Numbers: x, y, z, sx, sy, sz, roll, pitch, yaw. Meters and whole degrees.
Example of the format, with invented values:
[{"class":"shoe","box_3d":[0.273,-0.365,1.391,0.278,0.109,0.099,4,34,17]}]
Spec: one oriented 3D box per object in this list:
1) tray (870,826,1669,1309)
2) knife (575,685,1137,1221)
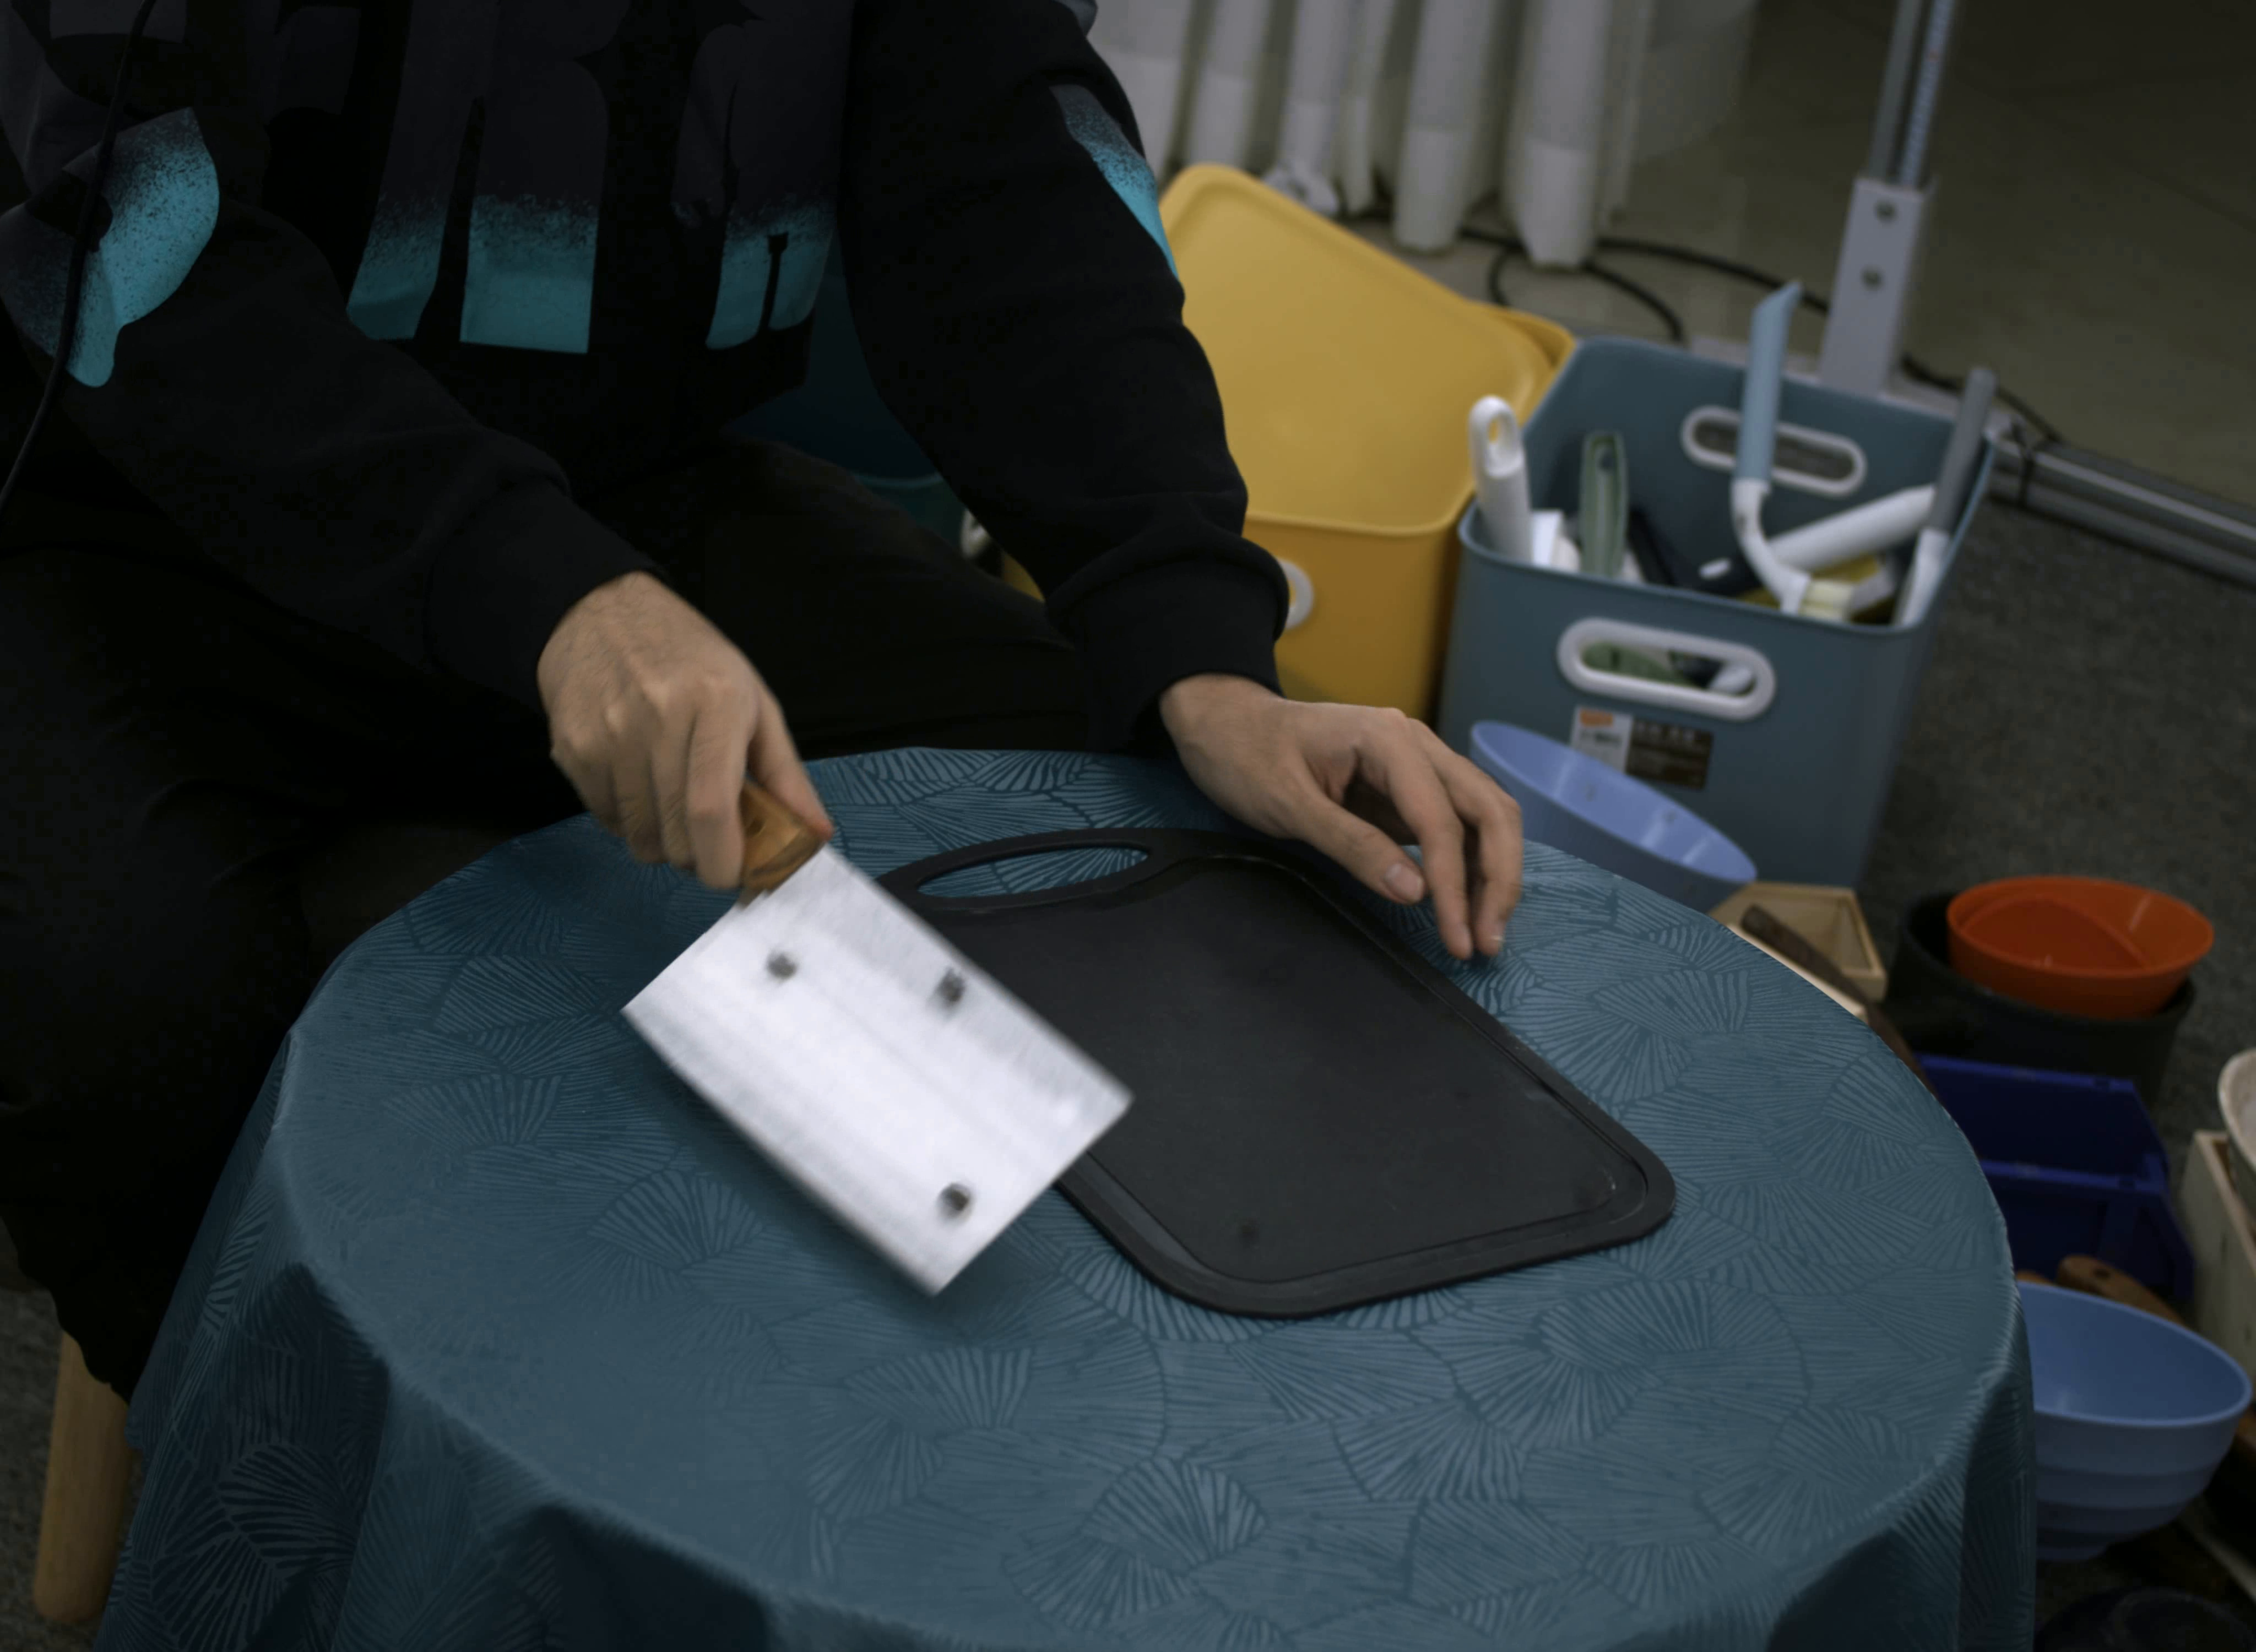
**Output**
[{"class":"tray","box_3d":[0.033,0.077,1.894,0.210,0.010,0.328,-10,31,-29]},{"class":"knife","box_3d":[-0.115,0.044,1.818,0.093,0.021,0.308,-46,47,-9]}]
